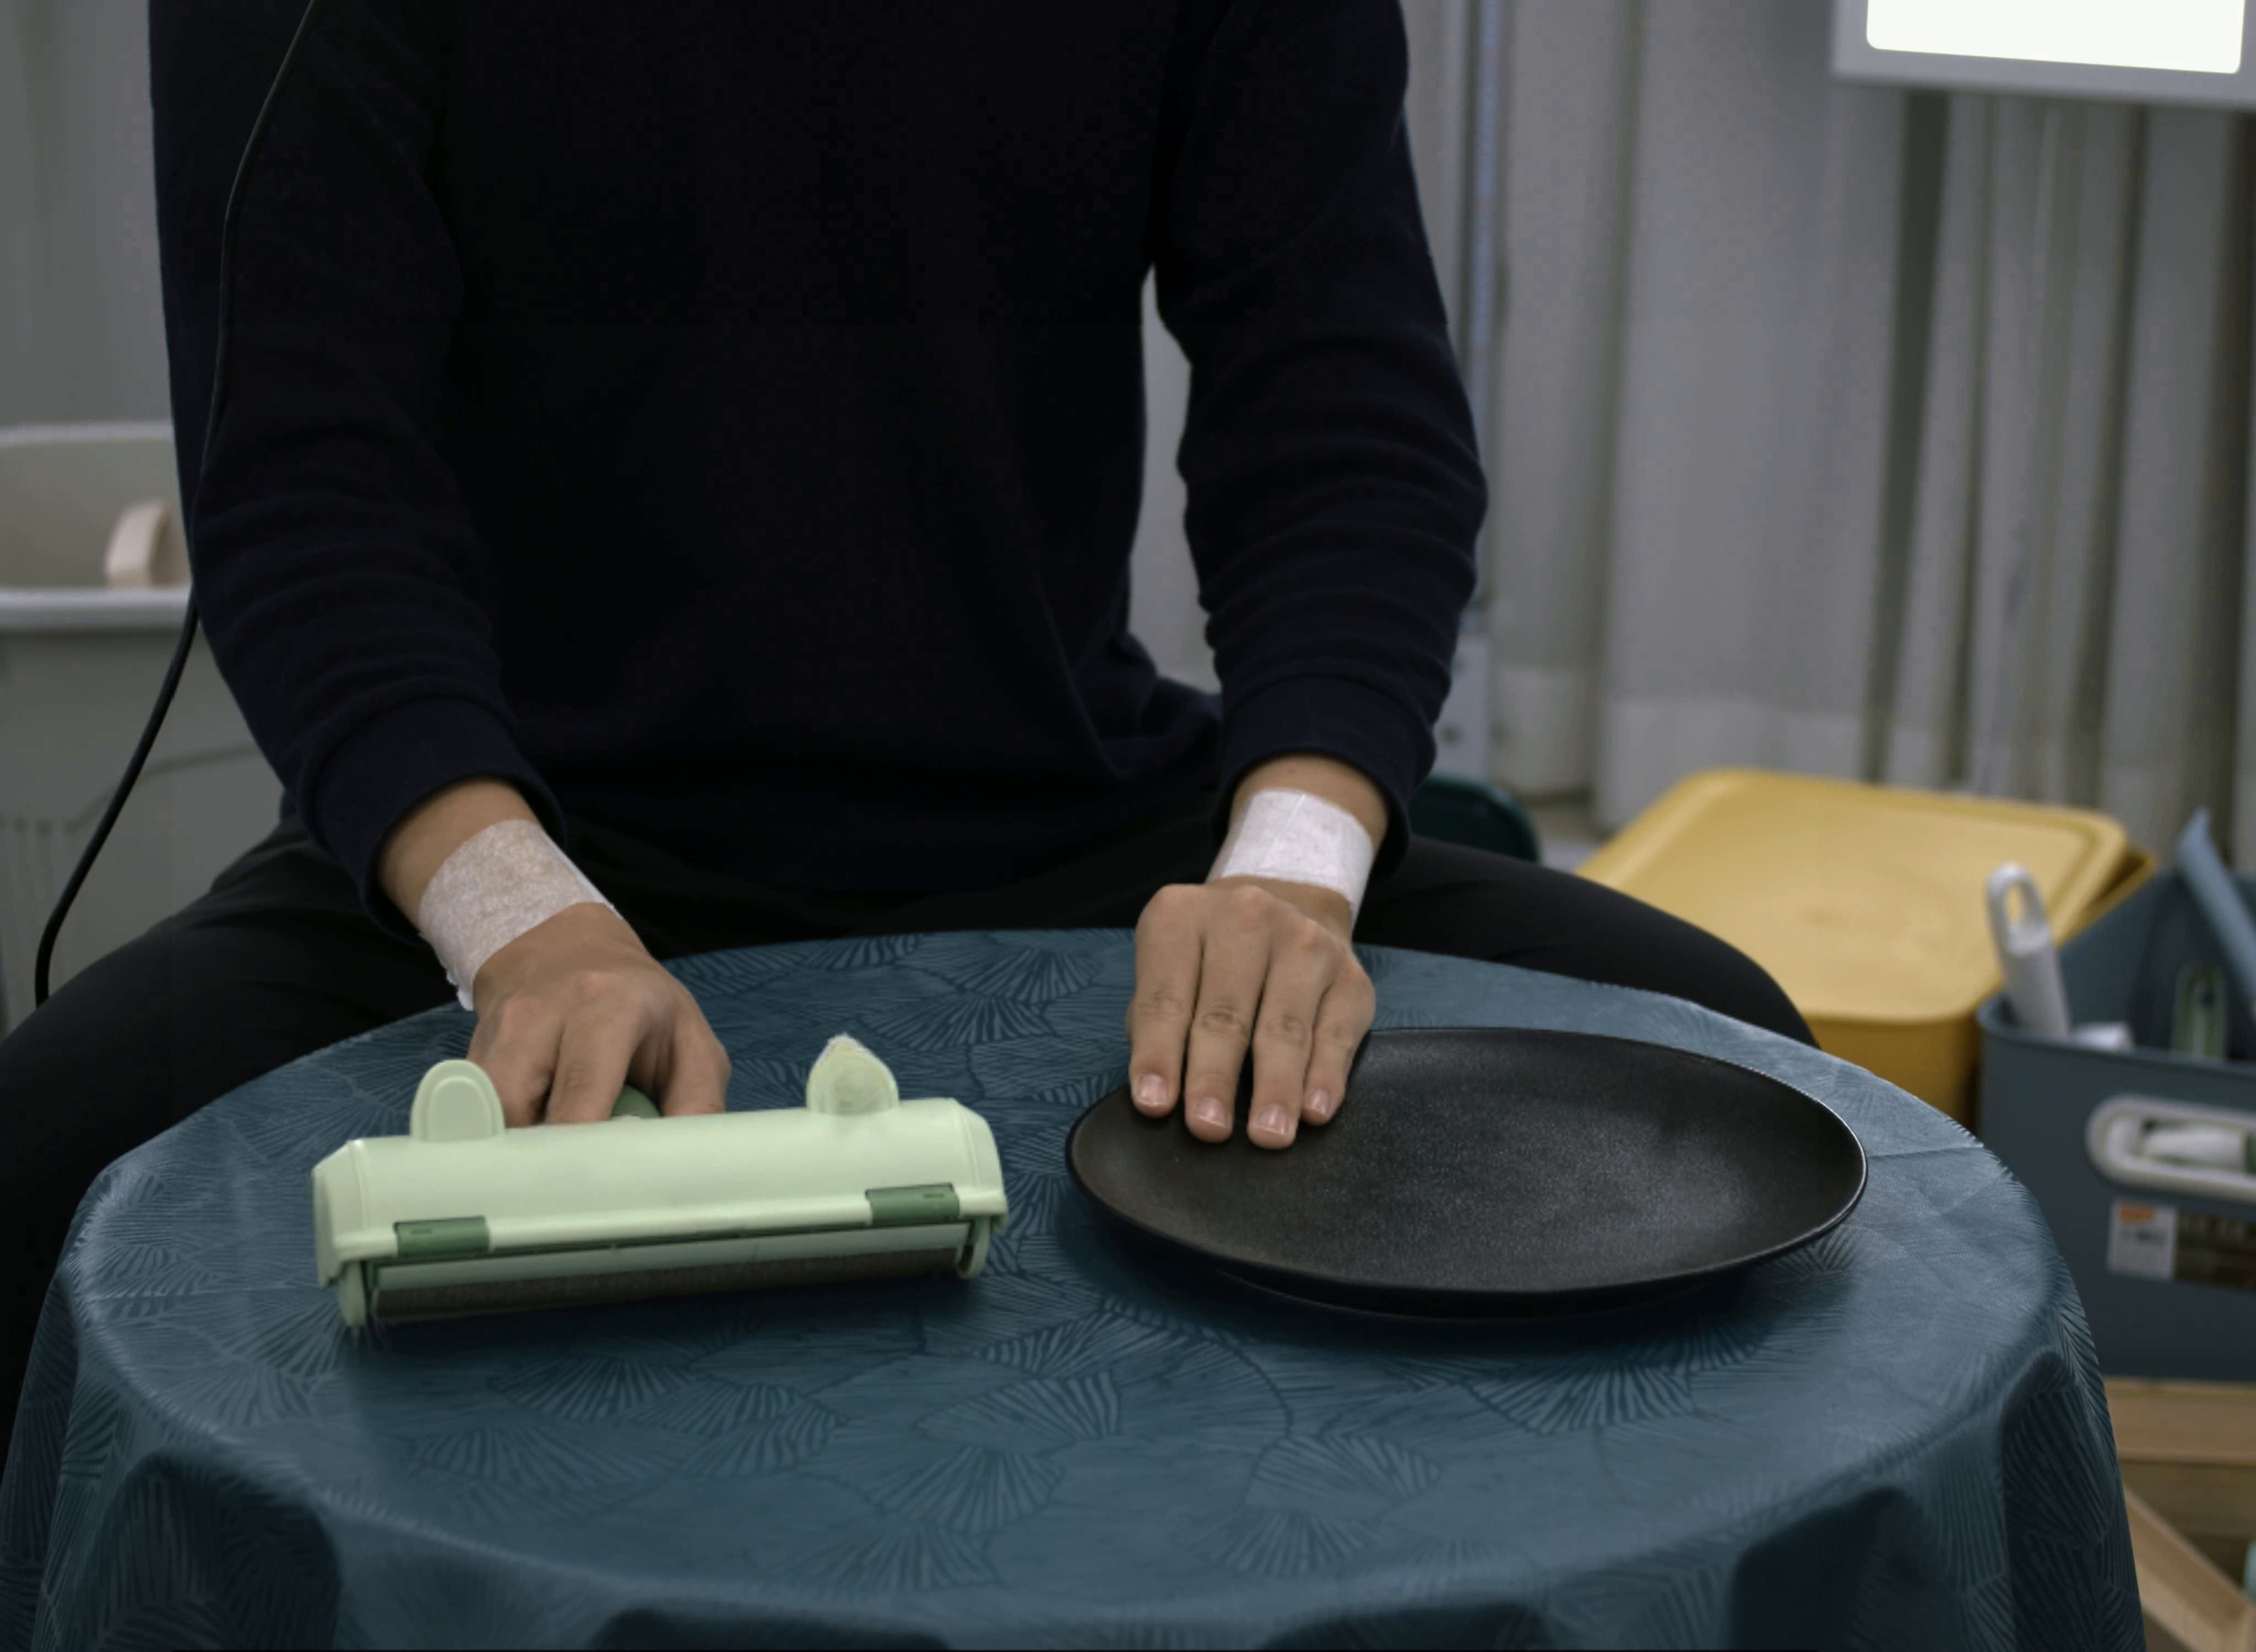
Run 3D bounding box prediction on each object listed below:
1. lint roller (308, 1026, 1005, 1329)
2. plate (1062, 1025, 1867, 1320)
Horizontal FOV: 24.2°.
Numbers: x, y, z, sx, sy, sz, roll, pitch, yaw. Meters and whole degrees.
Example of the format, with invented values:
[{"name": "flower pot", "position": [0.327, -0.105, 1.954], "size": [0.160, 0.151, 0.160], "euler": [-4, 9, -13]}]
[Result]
[{"name": "lint roller", "position": [-0.150, 0.083, 1.561], "size": [0.199, 0.083, 0.181], "euler": [-3, 23, -16]}, {"name": "plate", "position": [0.102, 0.107, 1.598], "size": [0.243, 0.023, 0.243], "euler": [1, 16, 0]}]
